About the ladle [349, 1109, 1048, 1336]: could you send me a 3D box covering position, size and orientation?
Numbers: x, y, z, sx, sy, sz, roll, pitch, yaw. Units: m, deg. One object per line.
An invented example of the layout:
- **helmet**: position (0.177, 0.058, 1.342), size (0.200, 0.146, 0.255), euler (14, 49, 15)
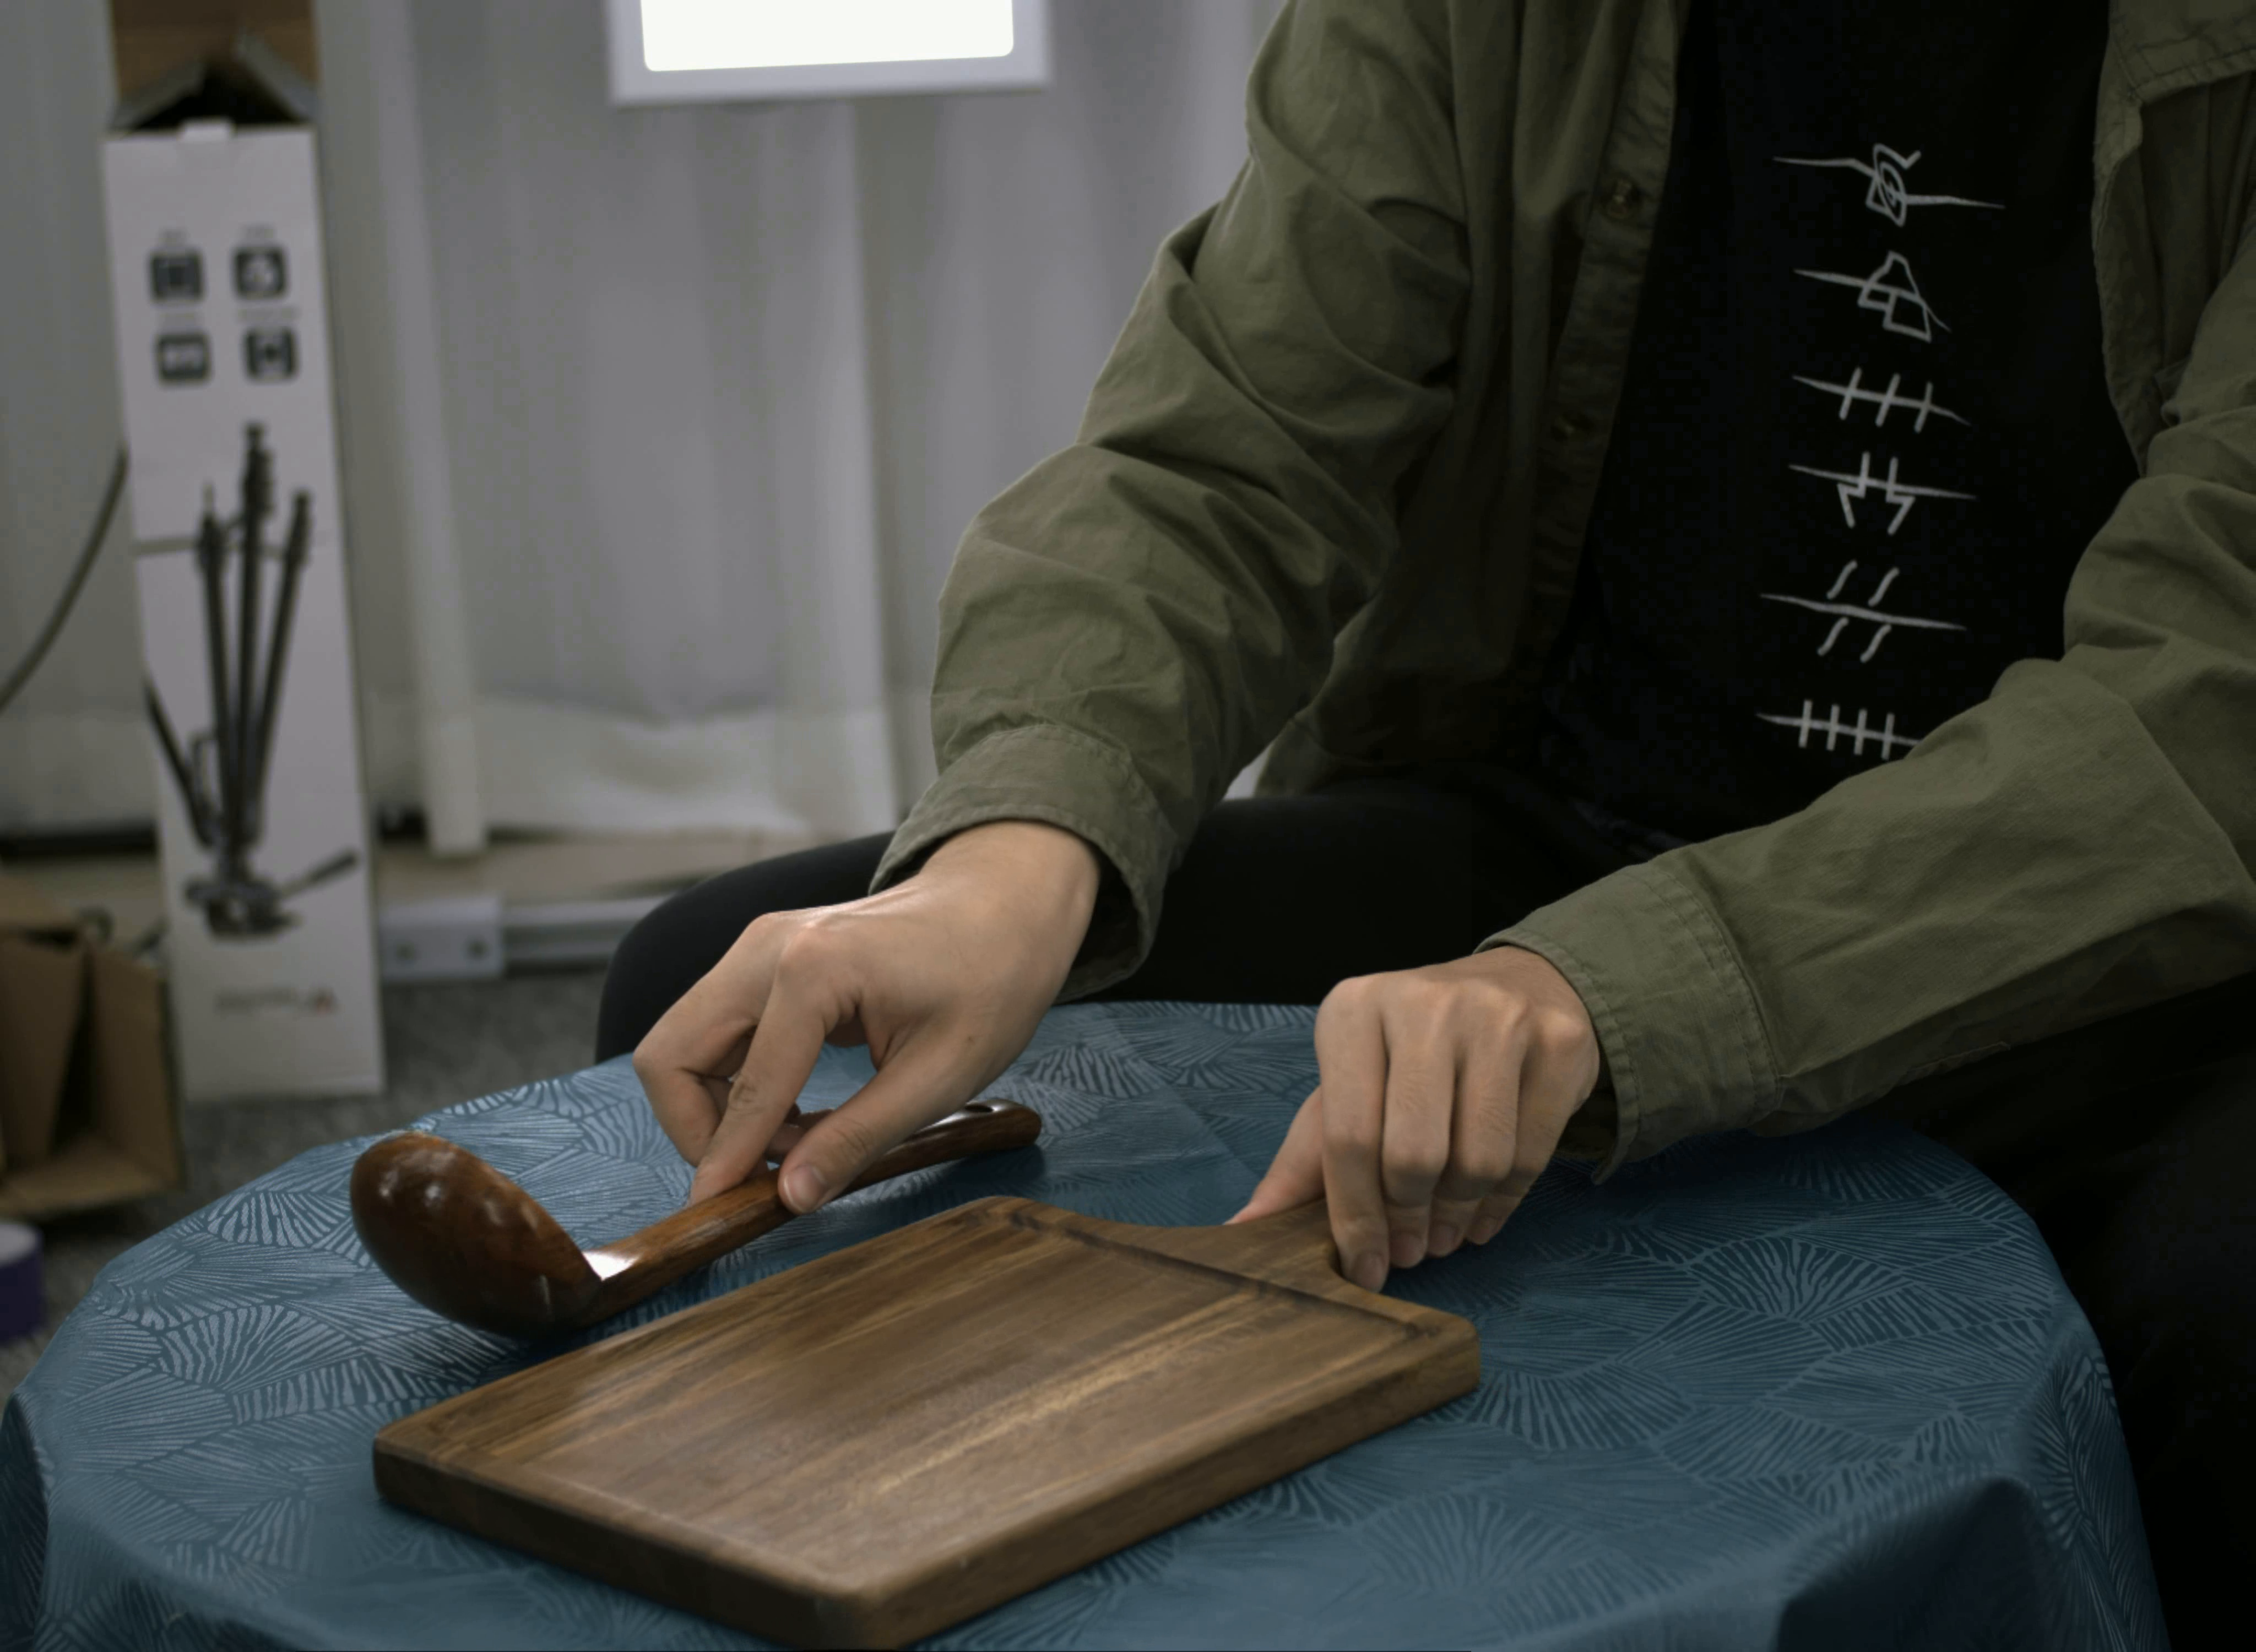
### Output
- **ladle**: position (-0.123, 0.095, 1.668), size (0.082, 0.076, 0.273), euler (18, 24, 37)

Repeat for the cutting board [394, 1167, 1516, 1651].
- **cutting board**: position (-0.011, 0.152, 1.535), size (0.202, 0.023, 0.351), euler (12, 21, 44)
